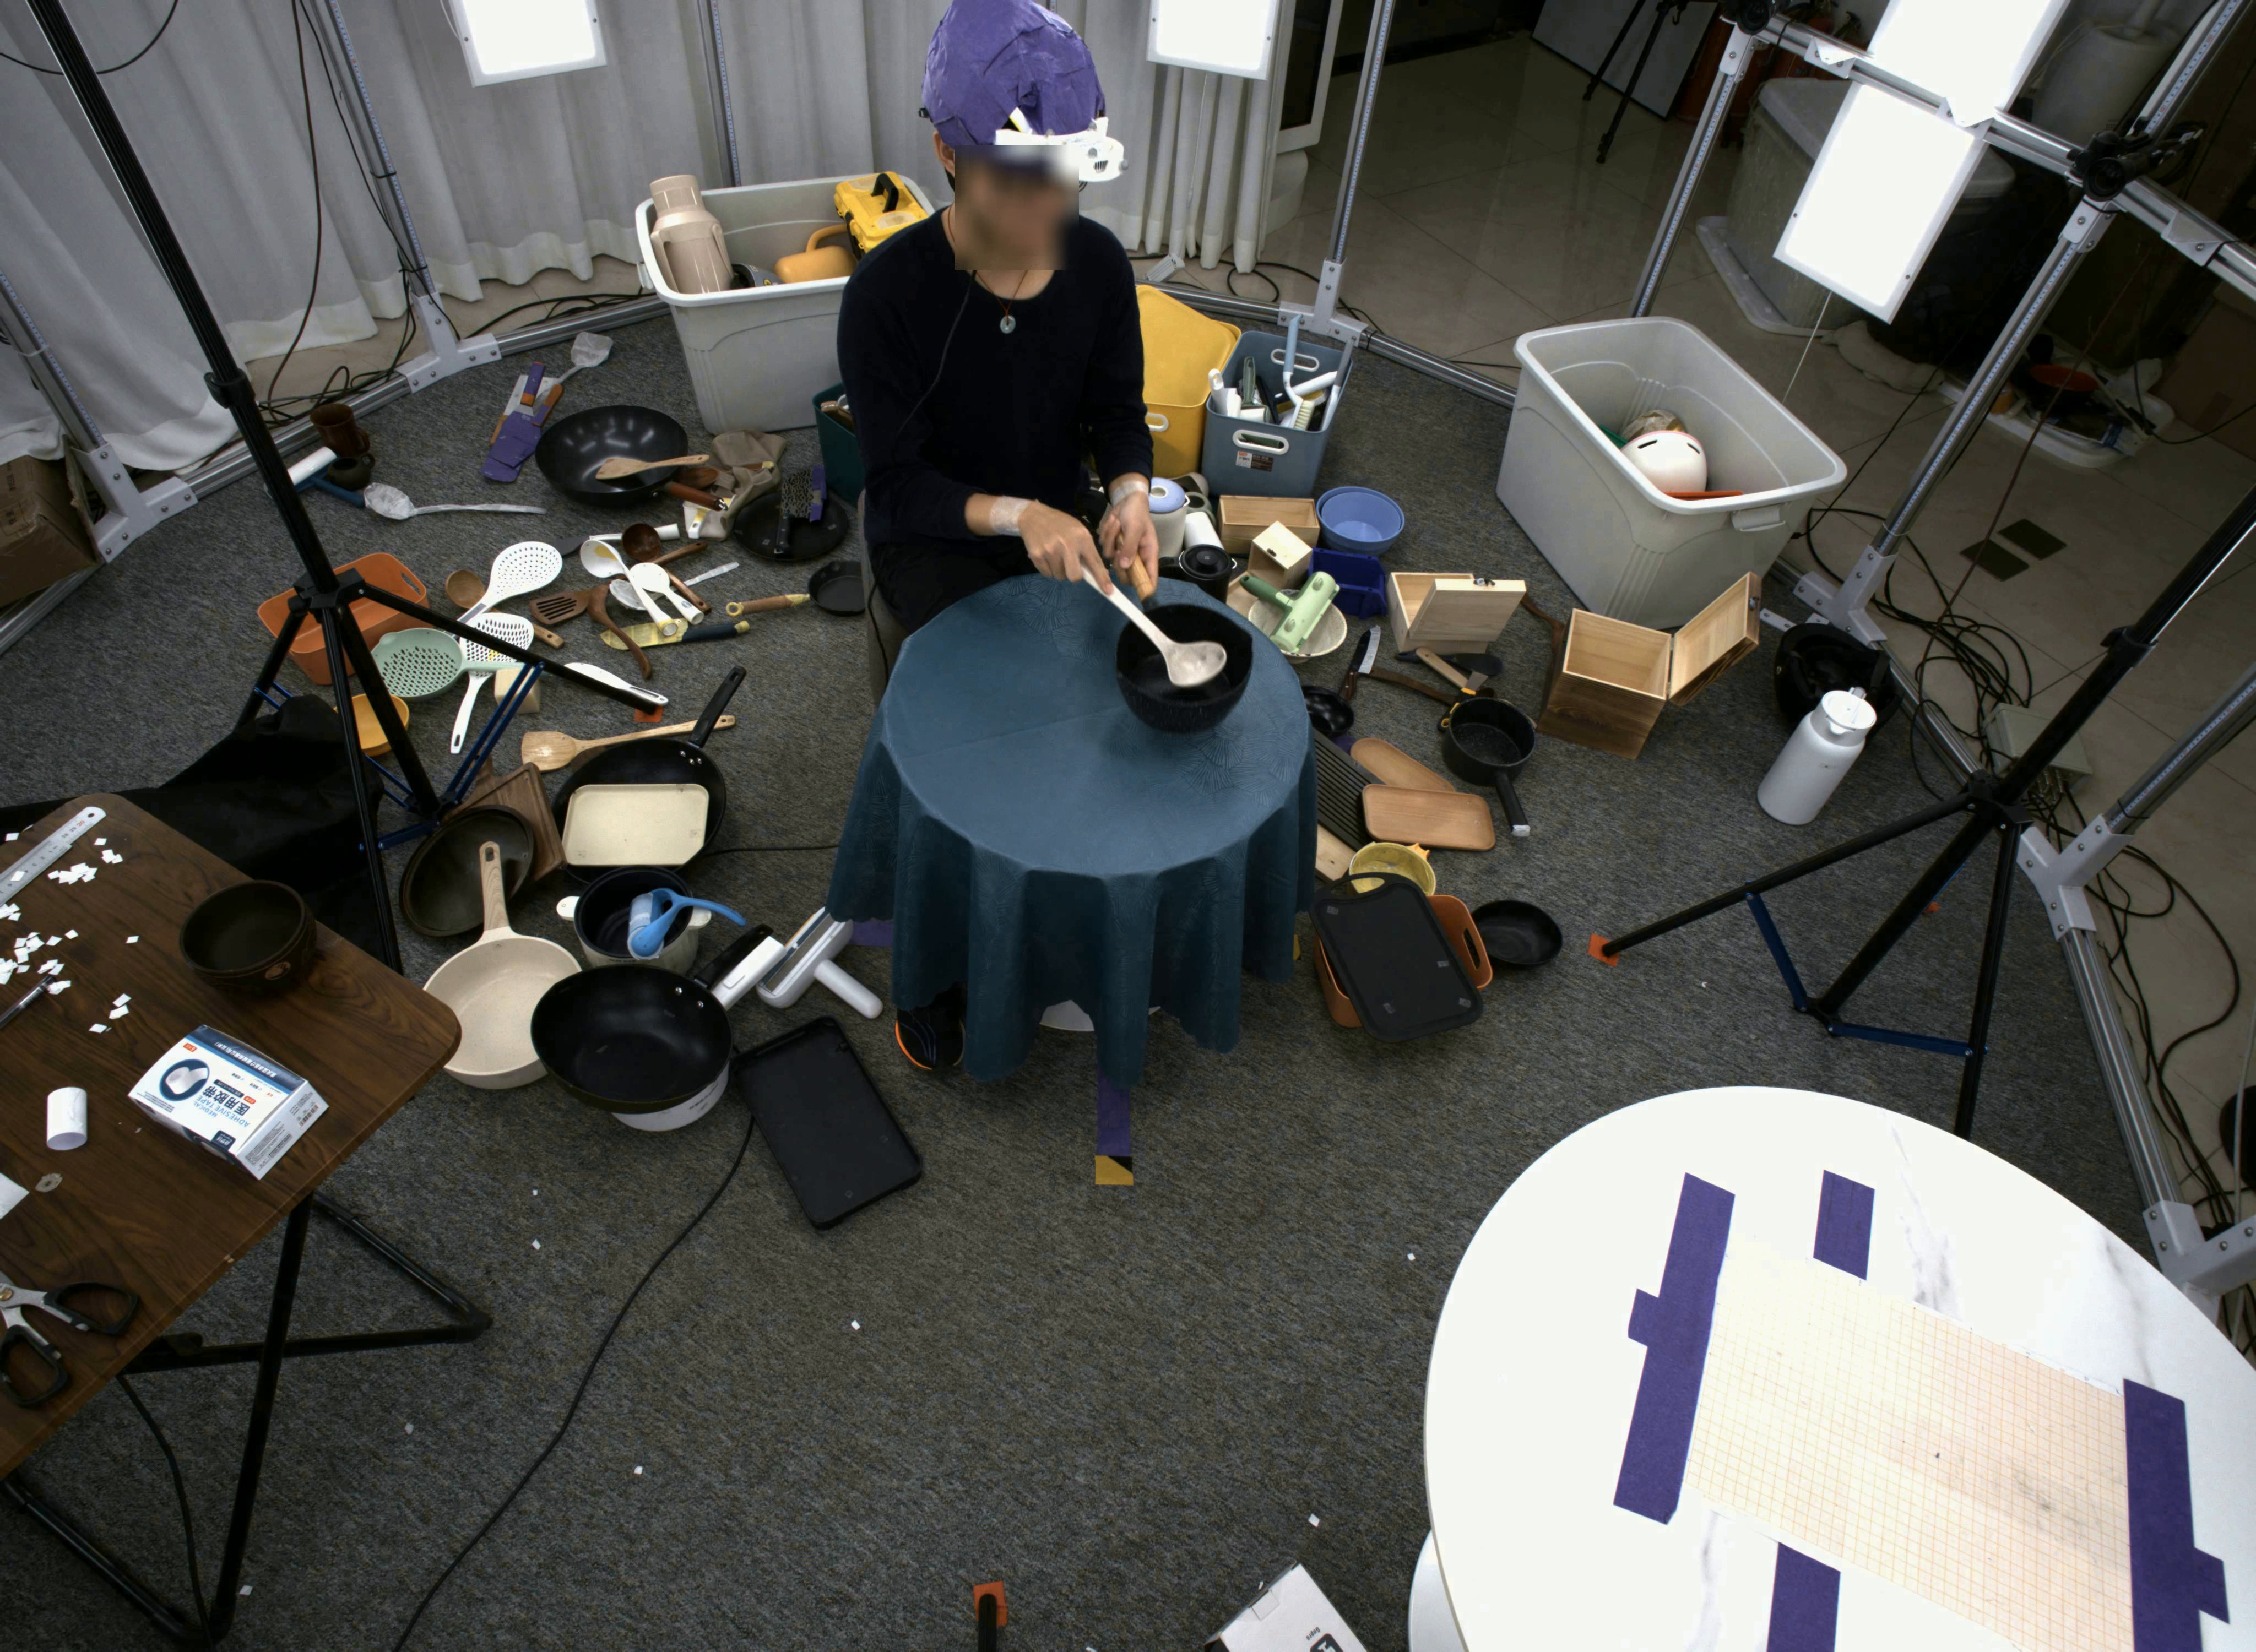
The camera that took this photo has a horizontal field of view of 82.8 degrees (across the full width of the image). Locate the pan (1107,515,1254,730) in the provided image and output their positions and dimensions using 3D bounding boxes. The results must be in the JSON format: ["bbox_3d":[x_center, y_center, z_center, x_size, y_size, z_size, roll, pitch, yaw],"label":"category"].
[{"bbox_3d":[0.041,-0.281,1.777,0.208,0.106,0.350,-18,57,-15],"label":"pan"}]

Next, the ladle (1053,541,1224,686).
[{"bbox_3d":[0.011,-0.297,1.727,0.274,0.069,0.090,43,66,-5],"label":"ladle"}]
